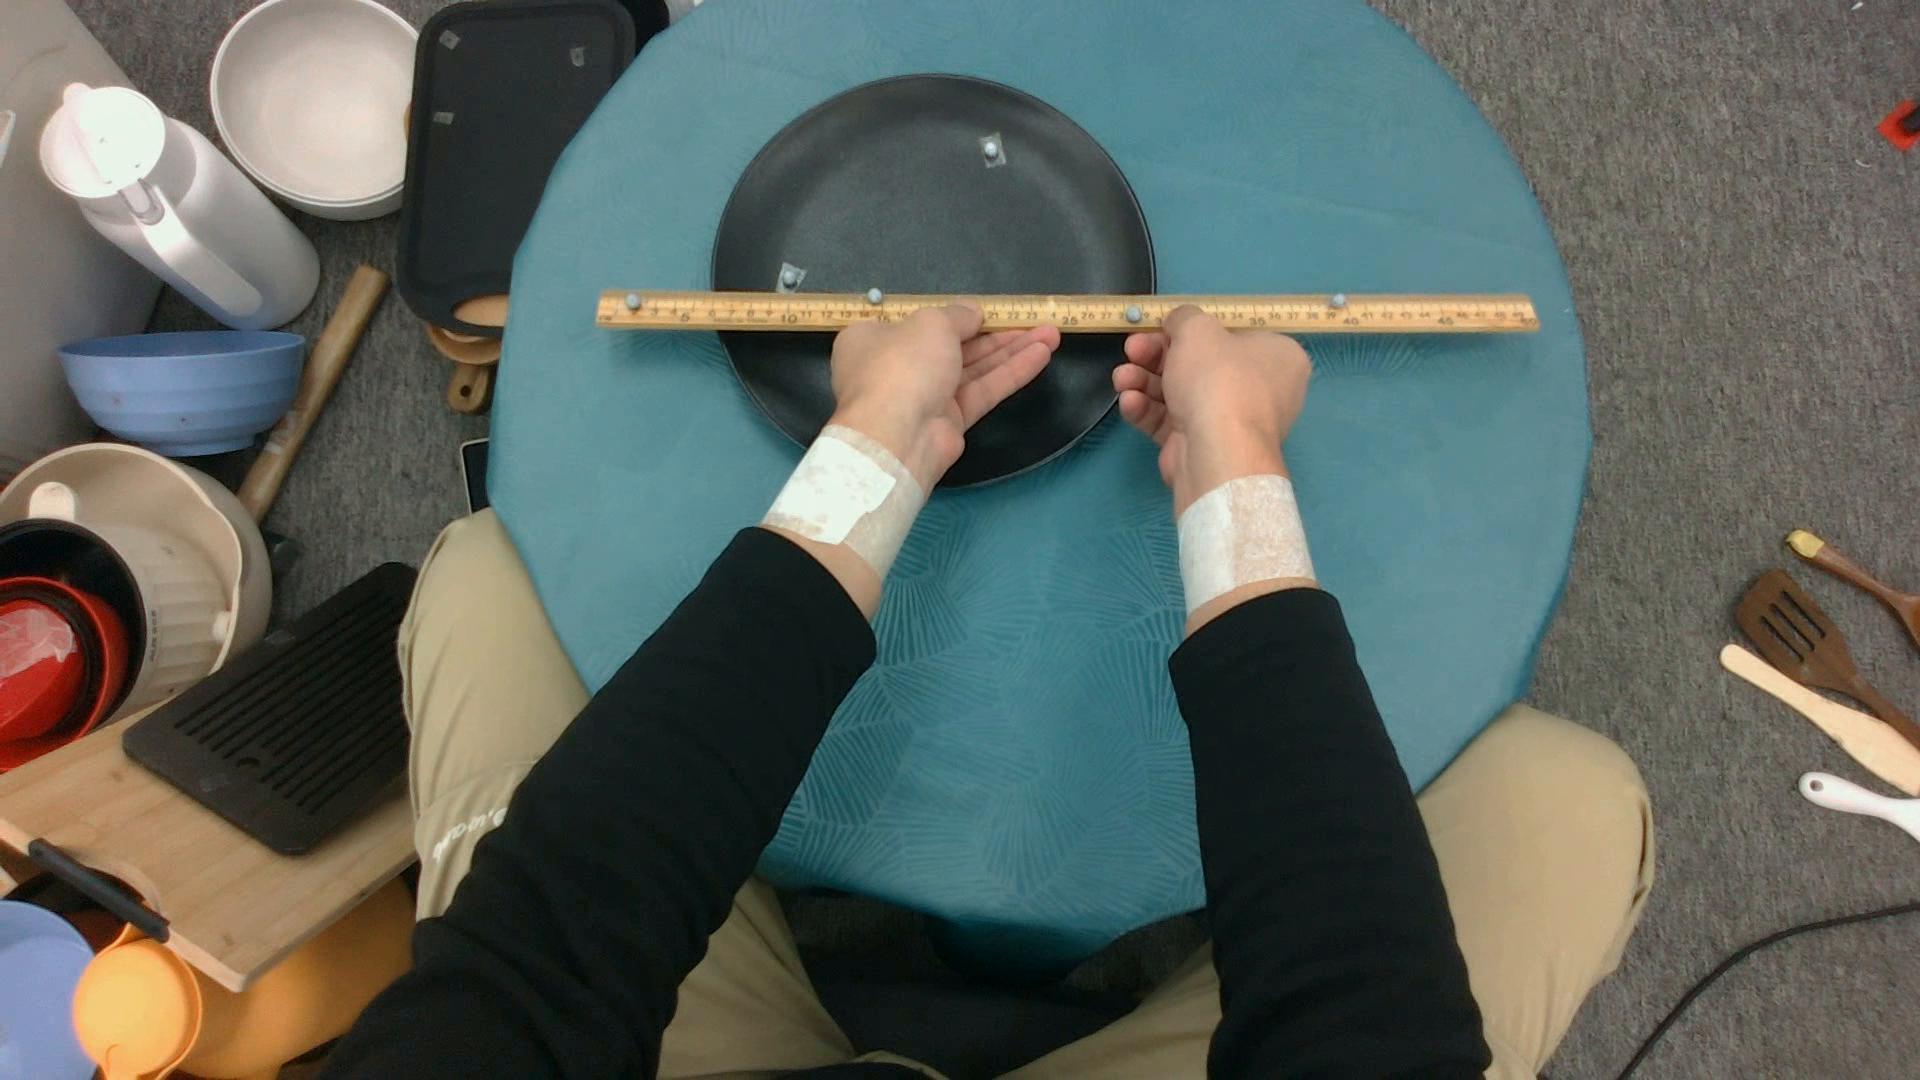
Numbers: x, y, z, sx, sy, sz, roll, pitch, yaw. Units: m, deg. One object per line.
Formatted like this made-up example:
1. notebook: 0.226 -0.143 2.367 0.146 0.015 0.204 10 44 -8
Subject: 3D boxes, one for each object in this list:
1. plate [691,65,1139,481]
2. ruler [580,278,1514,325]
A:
1. plate: -0.024 -0.148 0.758 0.244 0.023 0.245 1 77 -2
2. ruler: 0.049 -0.128 0.739 0.500 0.006 0.027 0 55 -2
